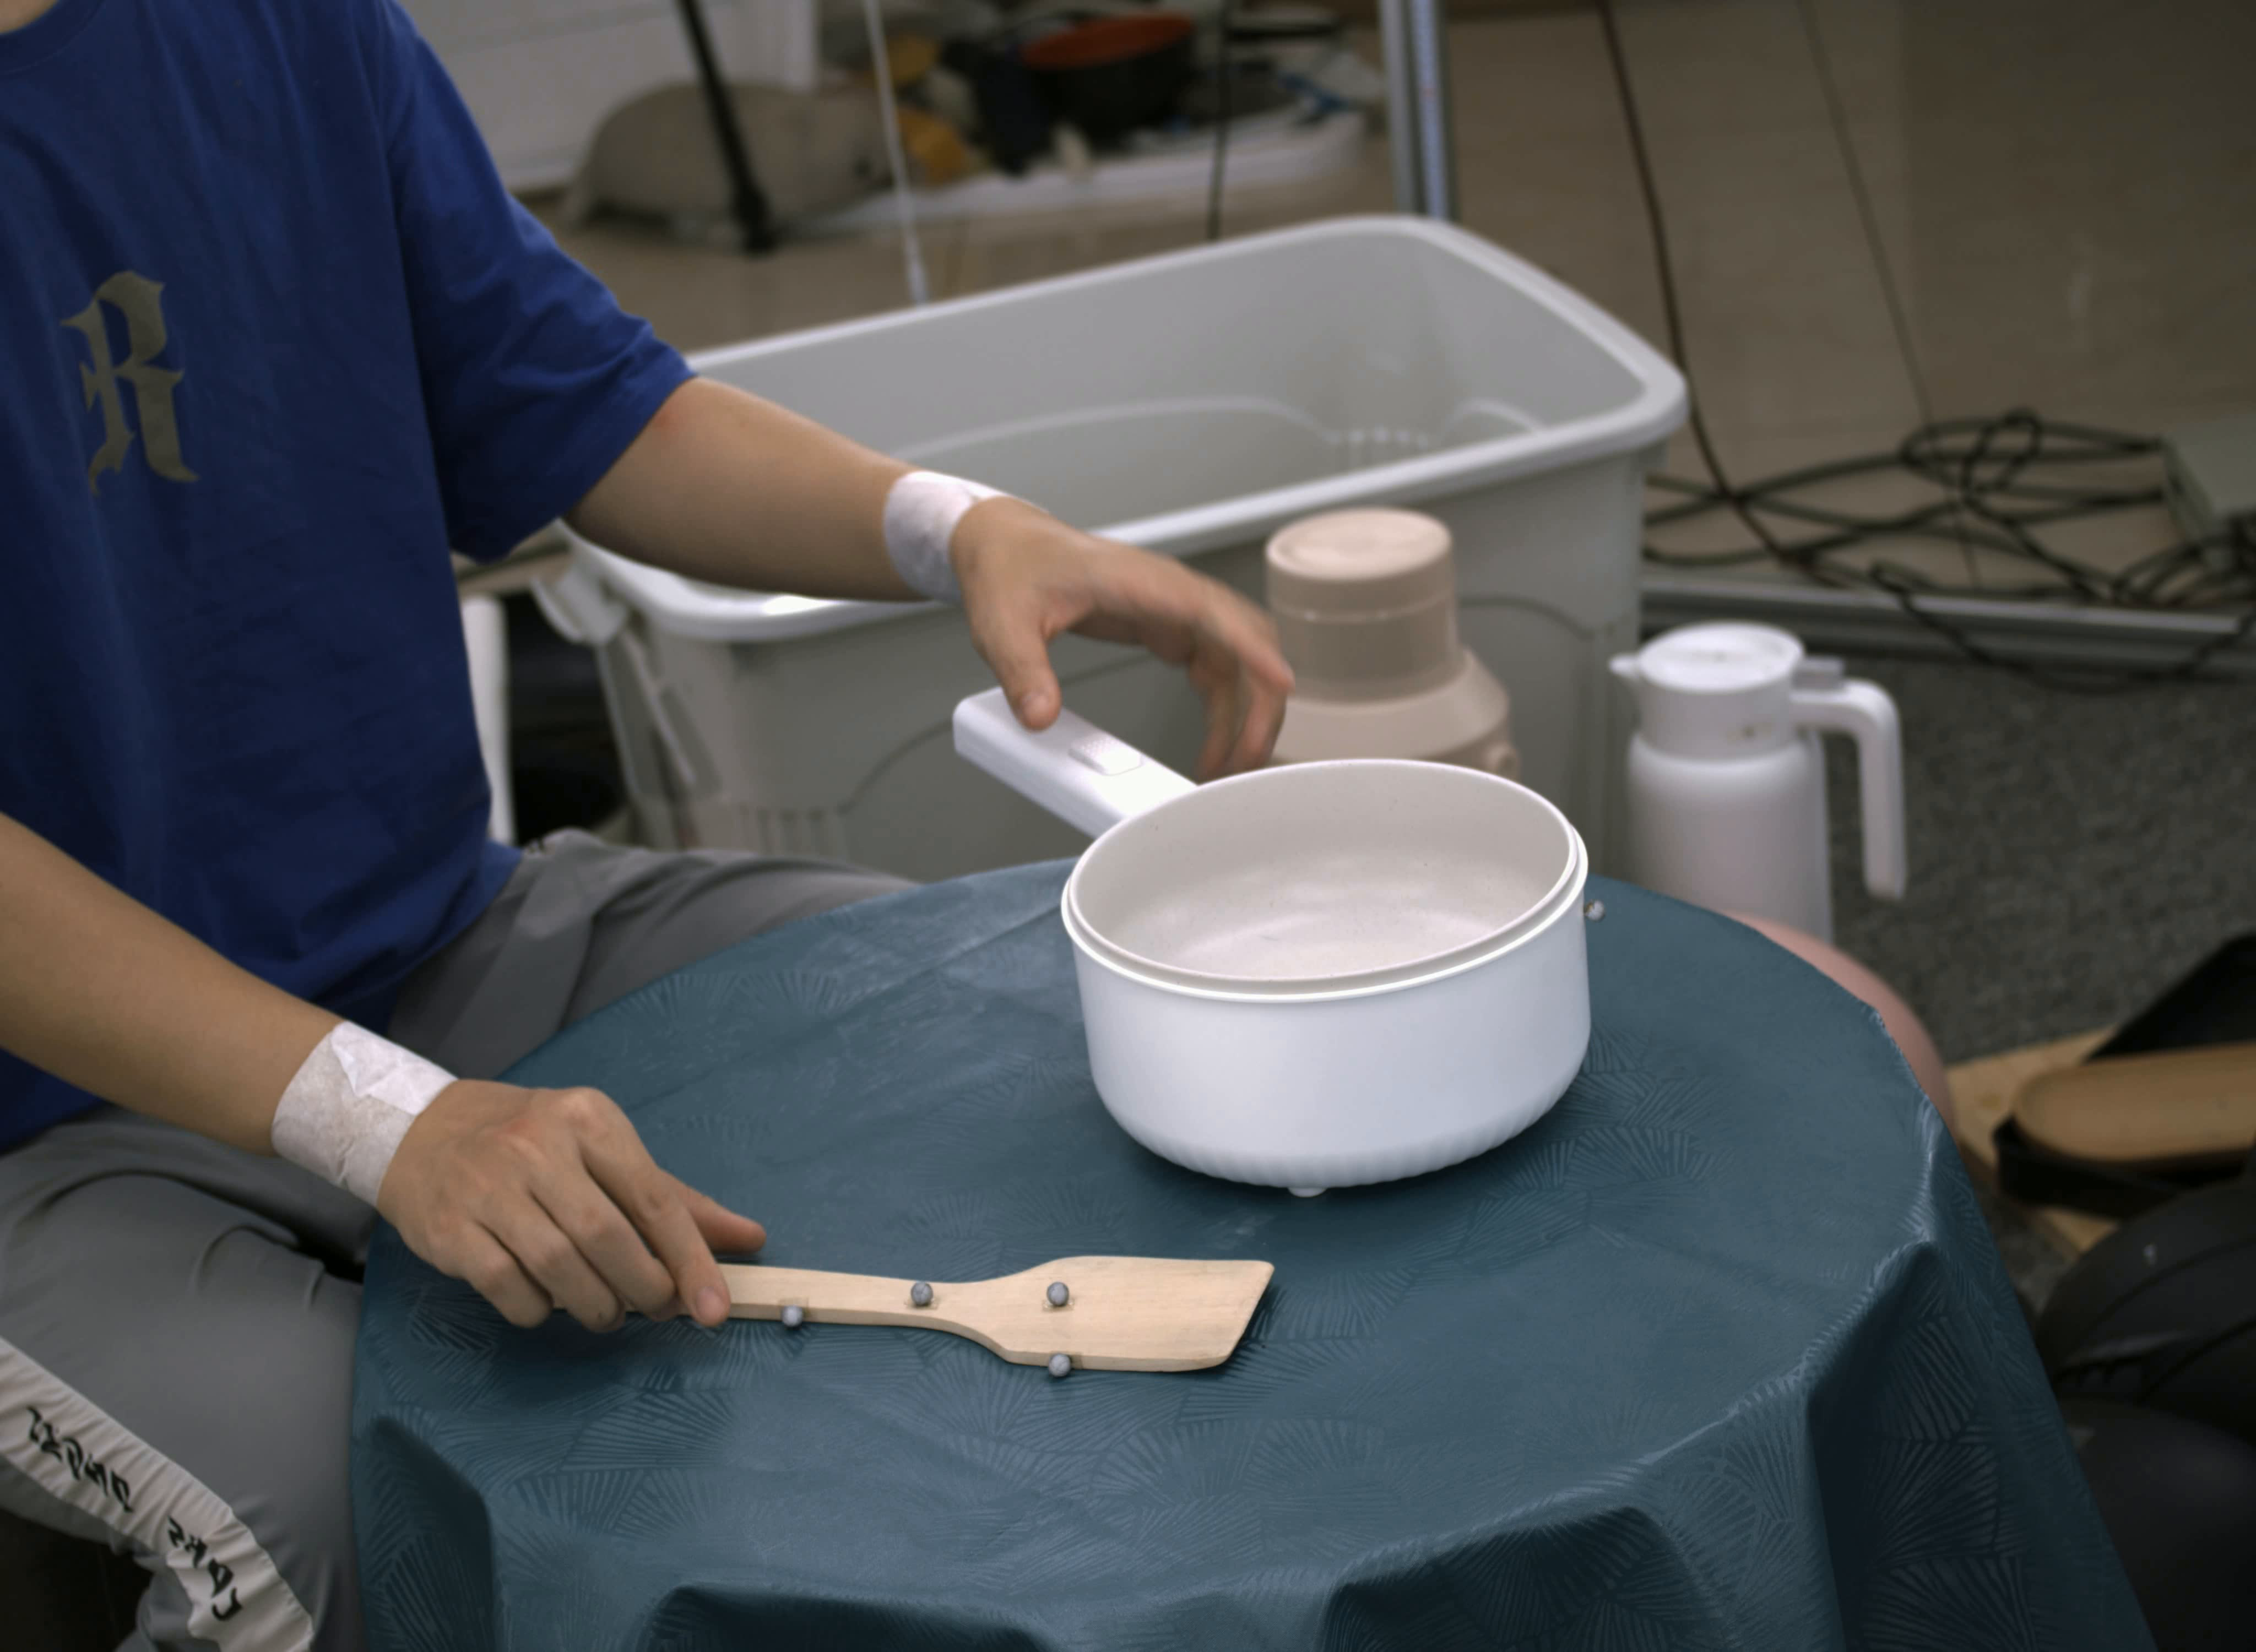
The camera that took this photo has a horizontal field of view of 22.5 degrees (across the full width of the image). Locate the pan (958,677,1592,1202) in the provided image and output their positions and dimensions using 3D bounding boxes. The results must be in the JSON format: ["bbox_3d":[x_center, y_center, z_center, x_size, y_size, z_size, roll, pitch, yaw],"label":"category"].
[{"bbox_3d":[0.039,0.038,2.237,0.200,0.104,0.351,-22,29,-25],"label":"pan"}]

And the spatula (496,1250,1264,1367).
[{"bbox_3d":[-0.097,0.173,2.087,0.292,0.011,0.071,2,26,17],"label":"spatula"}]
